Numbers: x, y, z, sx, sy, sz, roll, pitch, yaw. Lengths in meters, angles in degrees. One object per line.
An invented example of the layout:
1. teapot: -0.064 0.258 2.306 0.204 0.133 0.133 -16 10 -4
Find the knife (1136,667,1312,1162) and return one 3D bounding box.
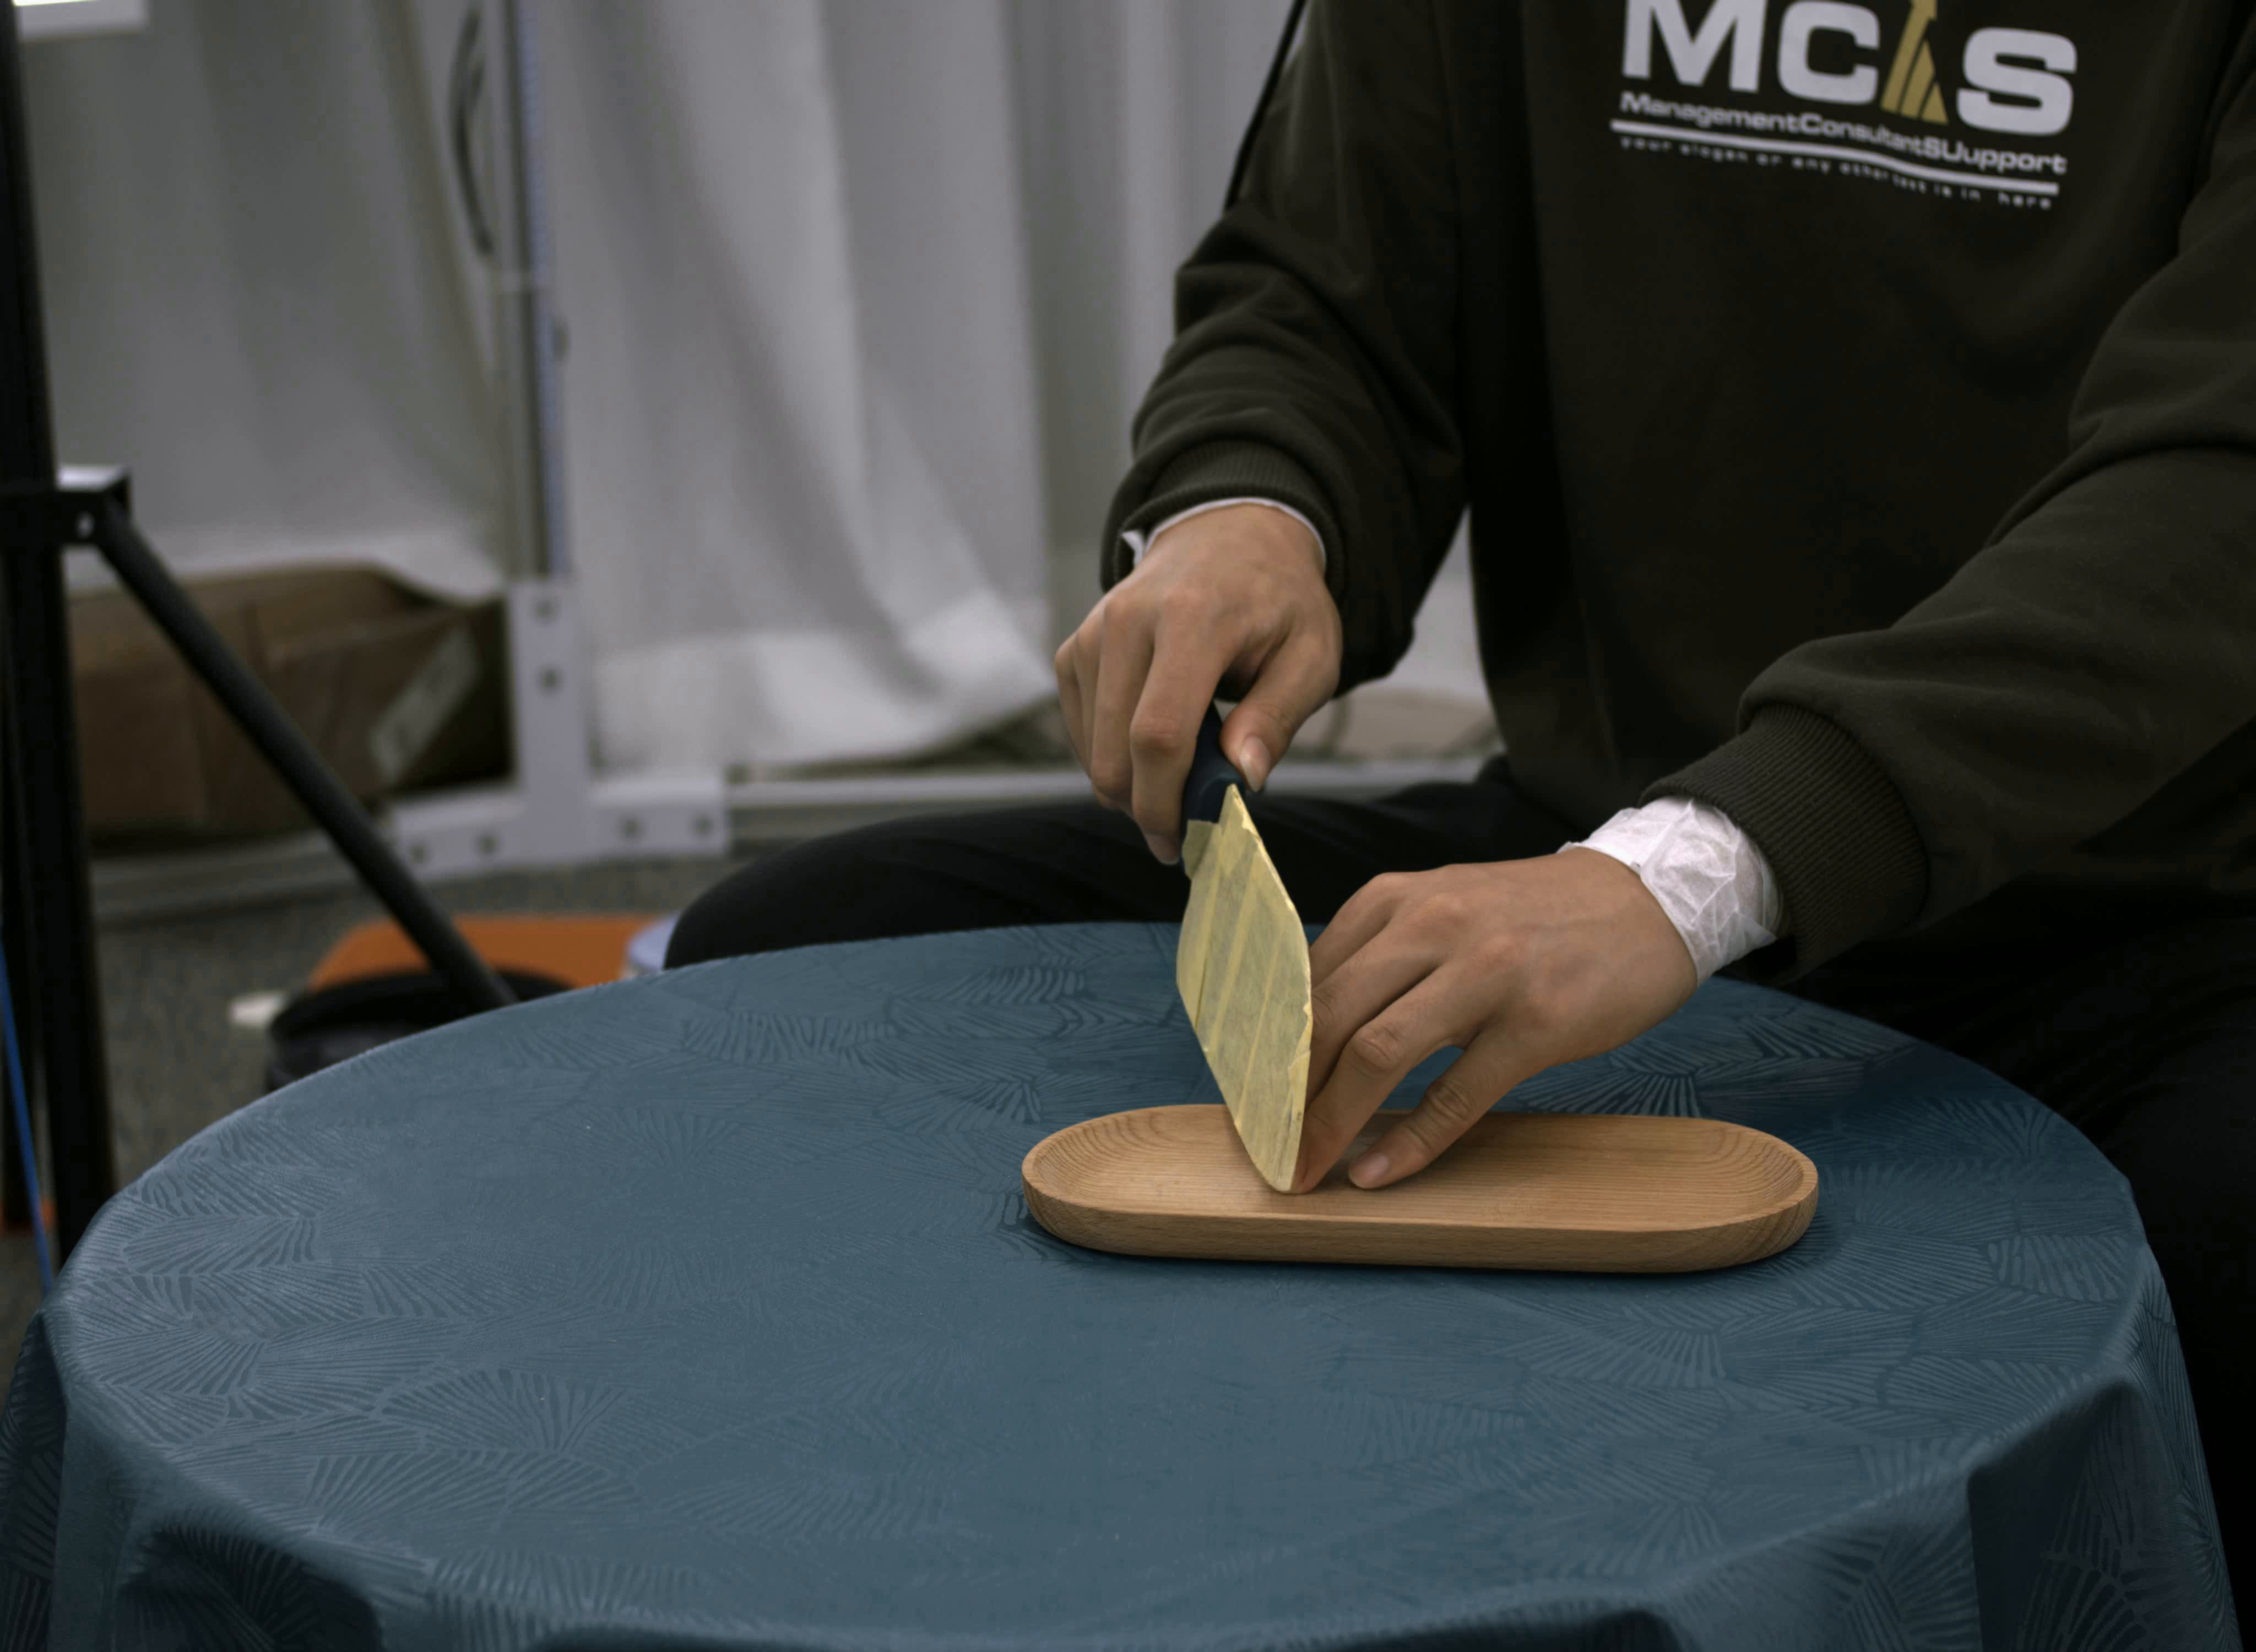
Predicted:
1. knife: 0.028 0.022 1.629 0.027 0.081 0.293 11 23 -13

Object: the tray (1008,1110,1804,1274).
1. tray: 0.079 0.106 1.529 0.232 0.020 0.101 0 13 14
